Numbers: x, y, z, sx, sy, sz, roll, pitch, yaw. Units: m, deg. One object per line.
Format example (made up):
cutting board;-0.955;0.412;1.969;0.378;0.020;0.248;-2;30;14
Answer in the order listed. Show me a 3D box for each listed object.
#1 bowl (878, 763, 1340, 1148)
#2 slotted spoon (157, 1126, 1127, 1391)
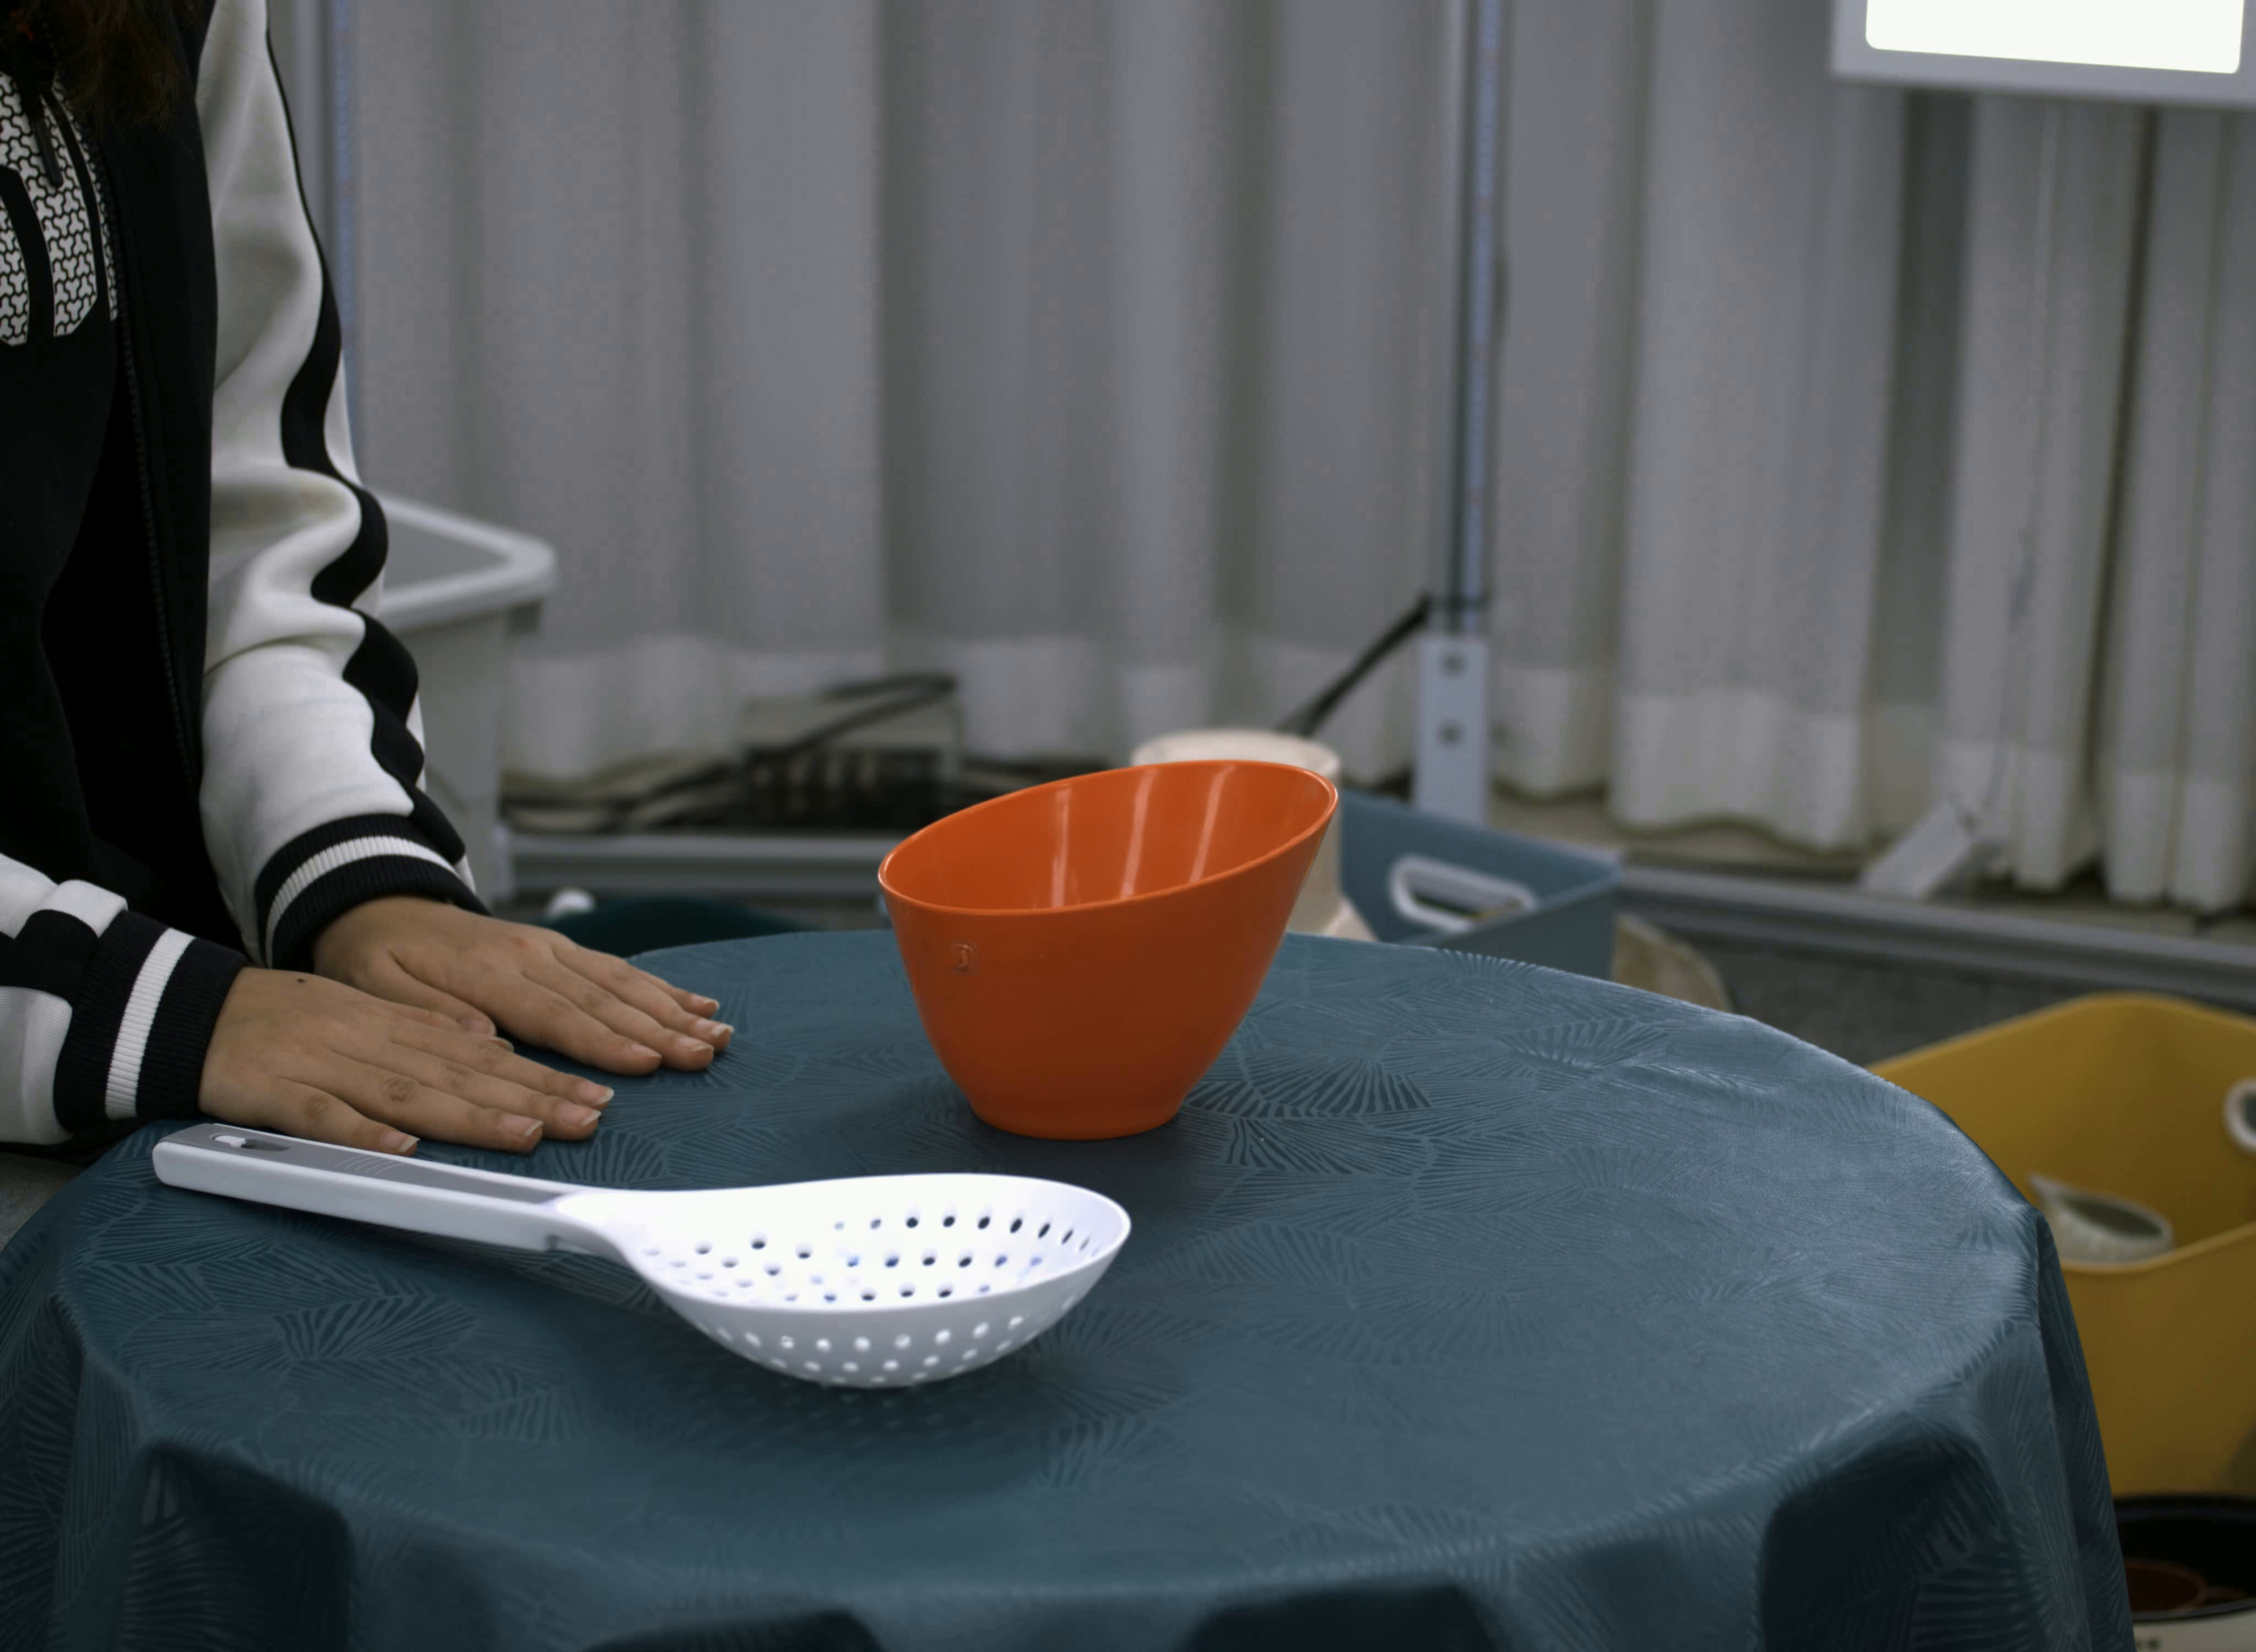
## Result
bowl;-0.006;0.043;1.684;0.147;0.105;0.147;0;17;1
slotted spoon;-0.154;0.115;1.524;0.345;0.046;0.136;11;17;35
